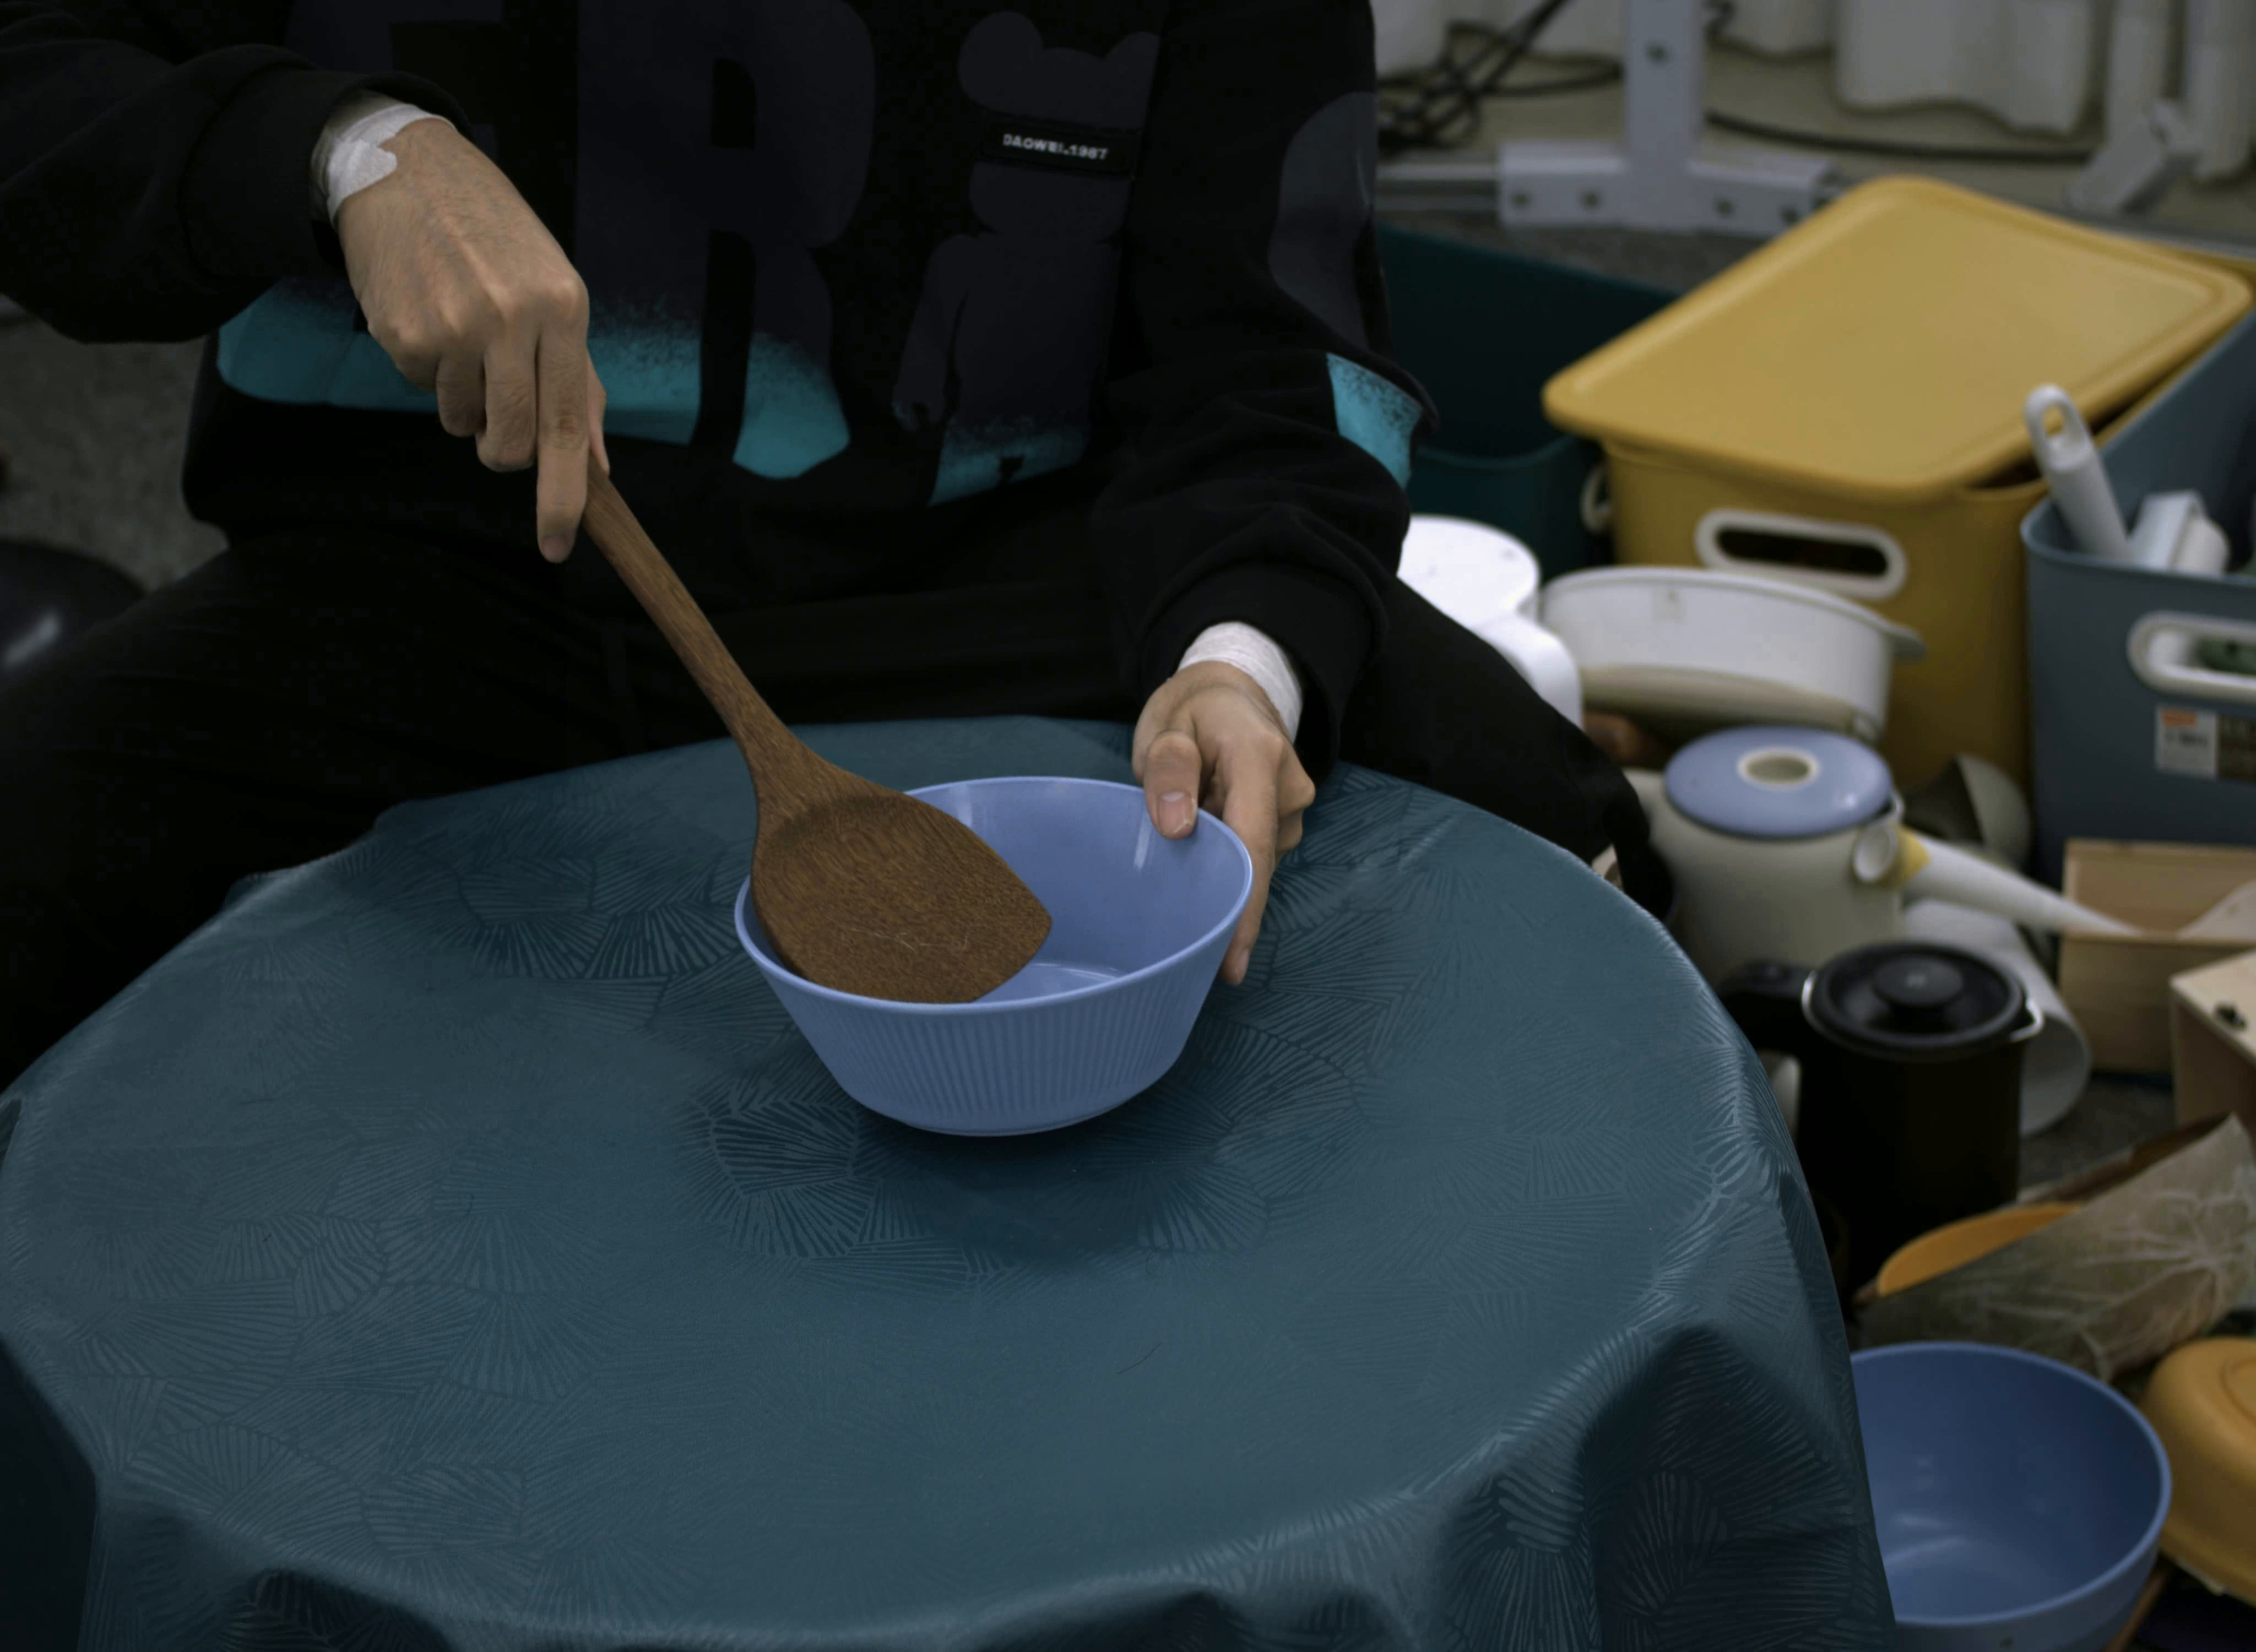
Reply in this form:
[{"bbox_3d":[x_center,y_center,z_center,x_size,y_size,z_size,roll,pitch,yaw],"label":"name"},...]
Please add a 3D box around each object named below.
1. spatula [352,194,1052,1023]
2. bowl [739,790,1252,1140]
[{"bbox_3d":[-0.163,-0.082,1.947,0.097,0.015,0.389,-23,65,-33],"label":"spatula"},{"bbox_3d":[-0.042,0.052,1.910,0.175,0.069,0.178,-4,23,2],"label":"bowl"}]
